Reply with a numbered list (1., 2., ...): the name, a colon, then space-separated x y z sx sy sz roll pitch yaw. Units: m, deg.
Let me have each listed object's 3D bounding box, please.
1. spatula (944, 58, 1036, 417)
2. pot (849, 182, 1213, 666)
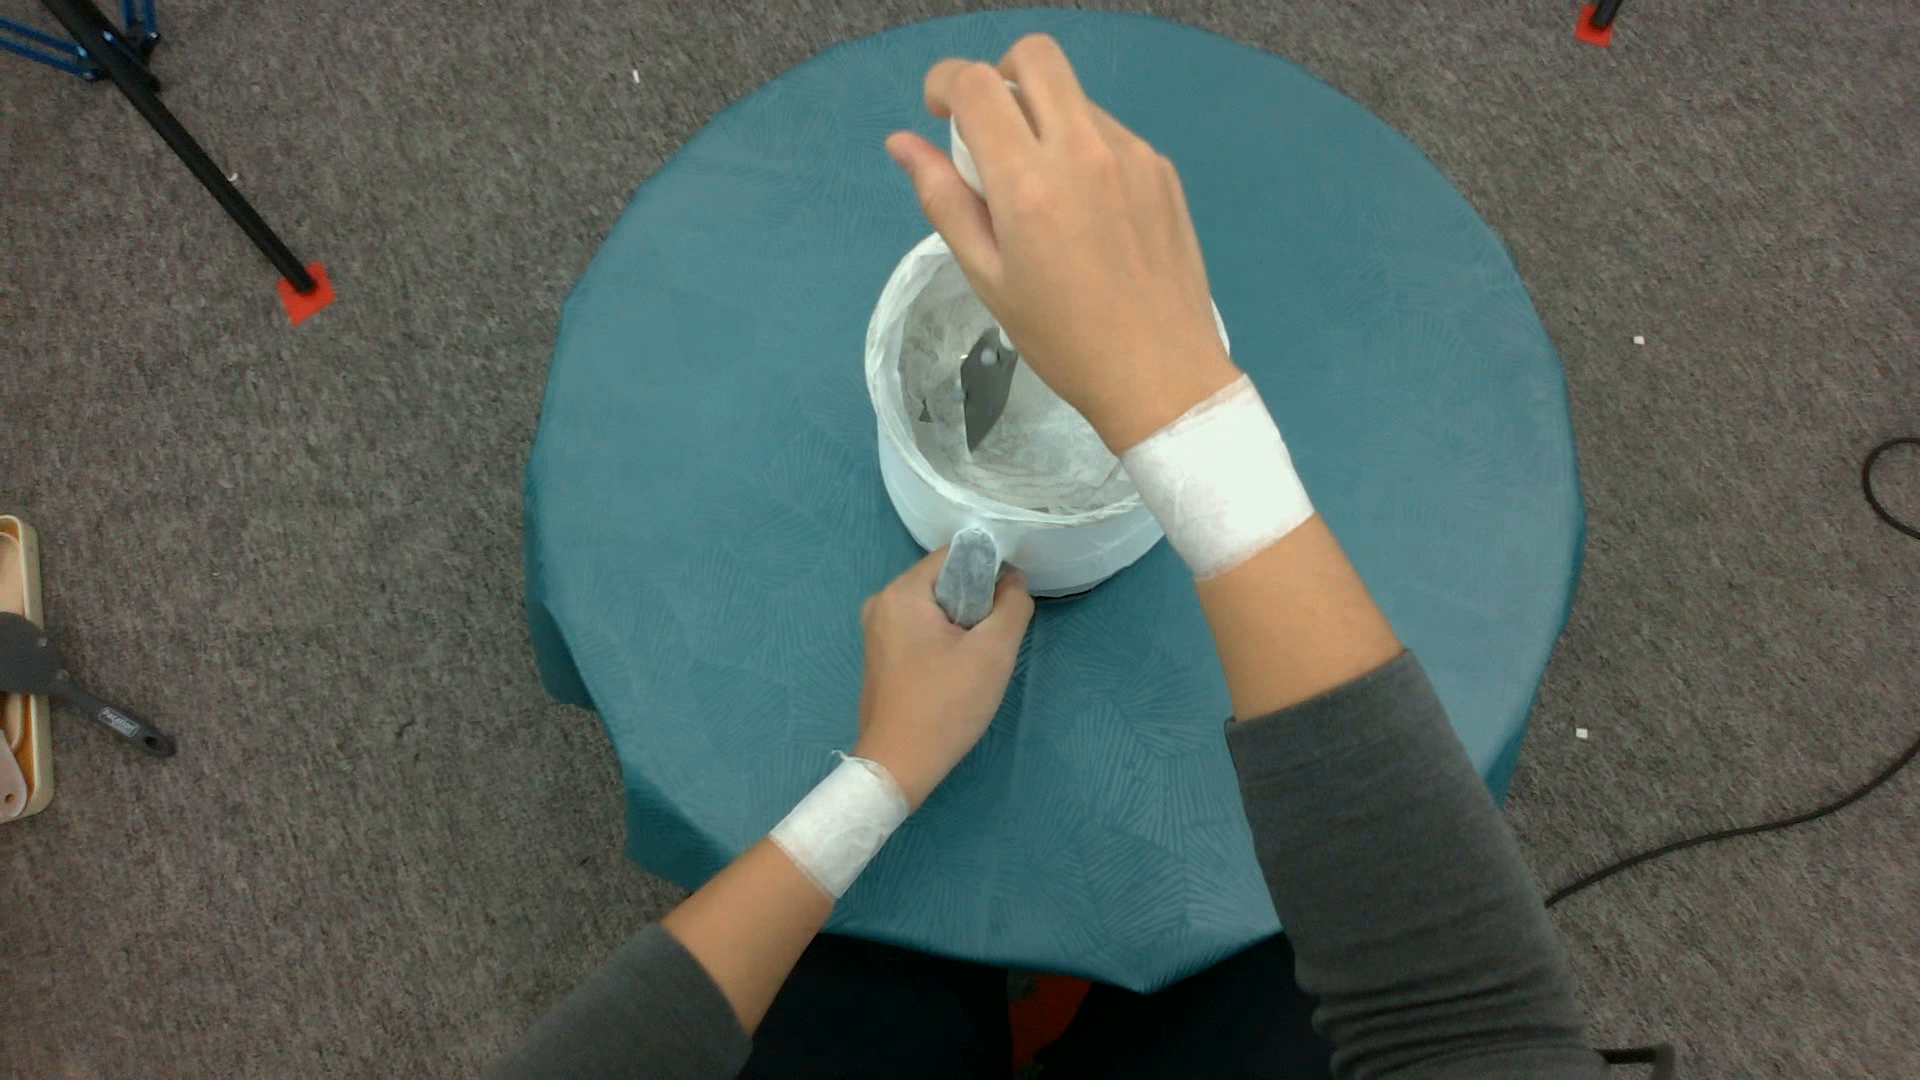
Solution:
1. spatula: 0.006 -0.121 0.612 0.032 0.287 0.059 -3 78 -3
2. pot: 0.025 -0.052 0.718 0.178 0.136 0.234 18 72 6
